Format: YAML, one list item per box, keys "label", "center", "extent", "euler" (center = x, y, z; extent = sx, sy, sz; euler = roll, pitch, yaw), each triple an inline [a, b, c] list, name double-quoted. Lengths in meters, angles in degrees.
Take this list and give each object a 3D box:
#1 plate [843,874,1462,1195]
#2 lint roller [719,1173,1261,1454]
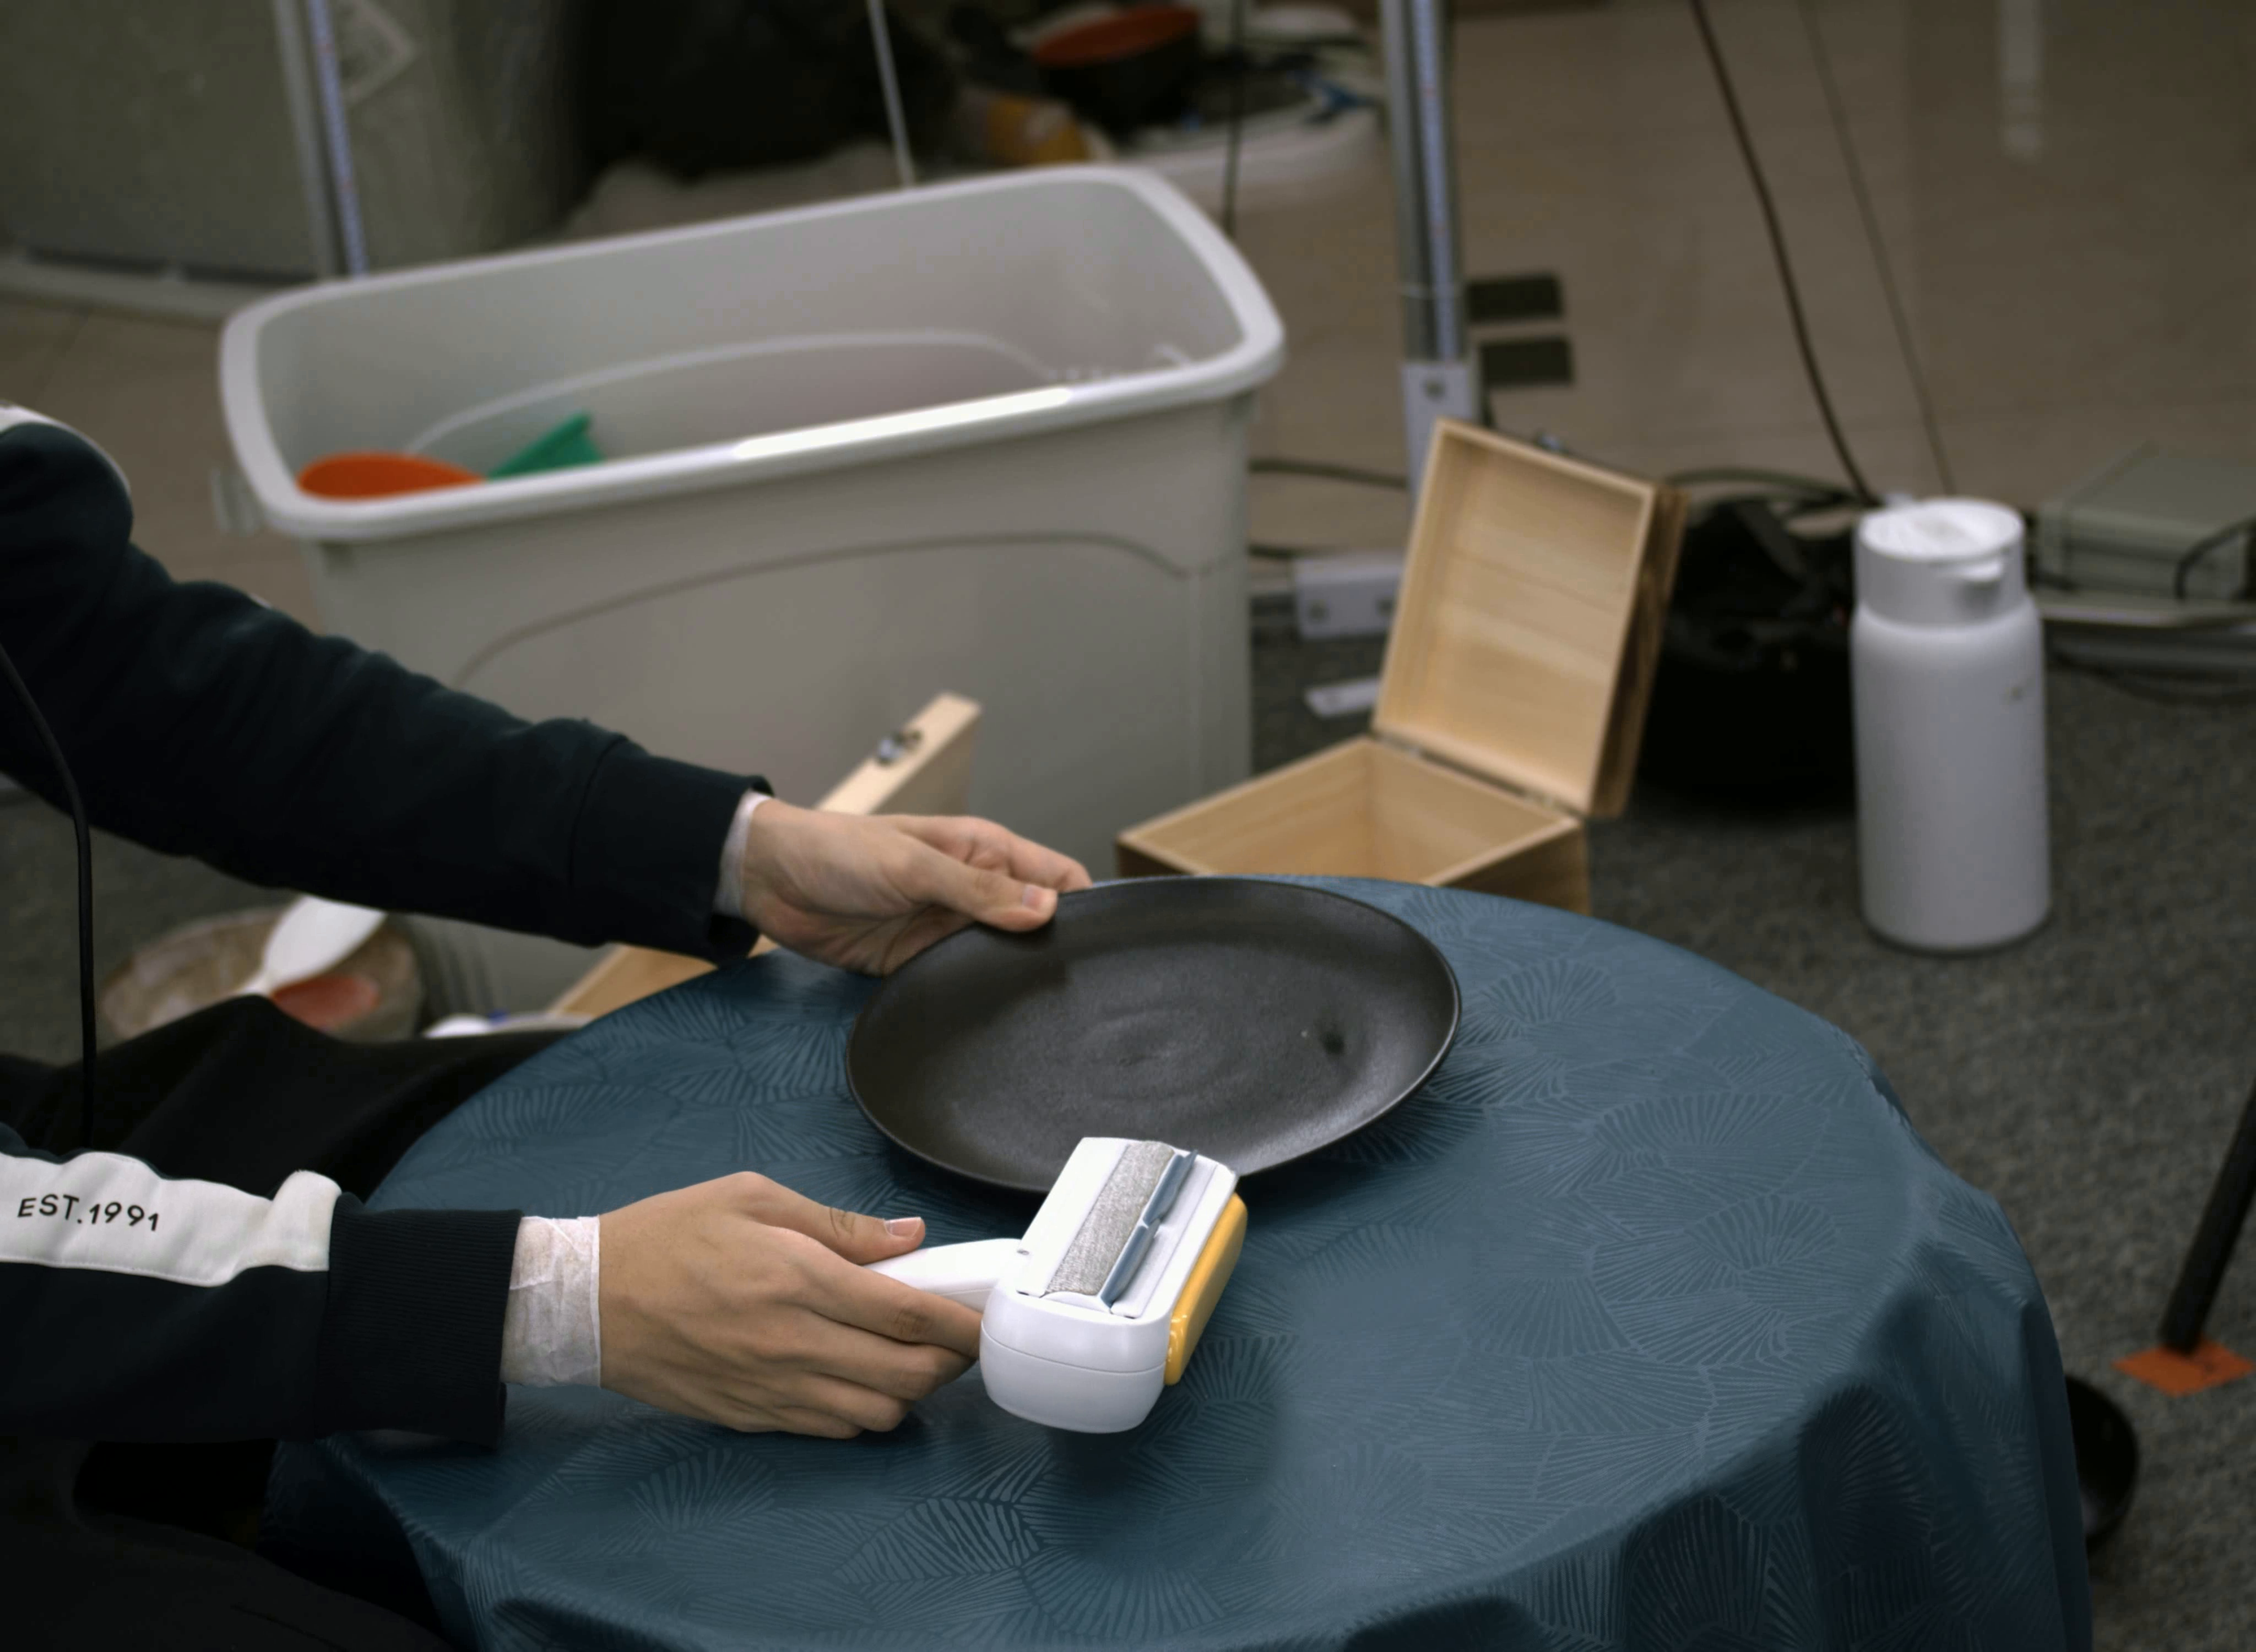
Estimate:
- label: "plate"
  center: [0.010, 0.086, 2.213]
  extent: [0.244, 0.024, 0.240]
  euler: [-5, 28, 3]
- label: "lint roller"
  center: [-0.060, 0.182, 2.018]
  extent: [0.192, 0.075, 0.191]
  euler: [-7, 15, 19]
